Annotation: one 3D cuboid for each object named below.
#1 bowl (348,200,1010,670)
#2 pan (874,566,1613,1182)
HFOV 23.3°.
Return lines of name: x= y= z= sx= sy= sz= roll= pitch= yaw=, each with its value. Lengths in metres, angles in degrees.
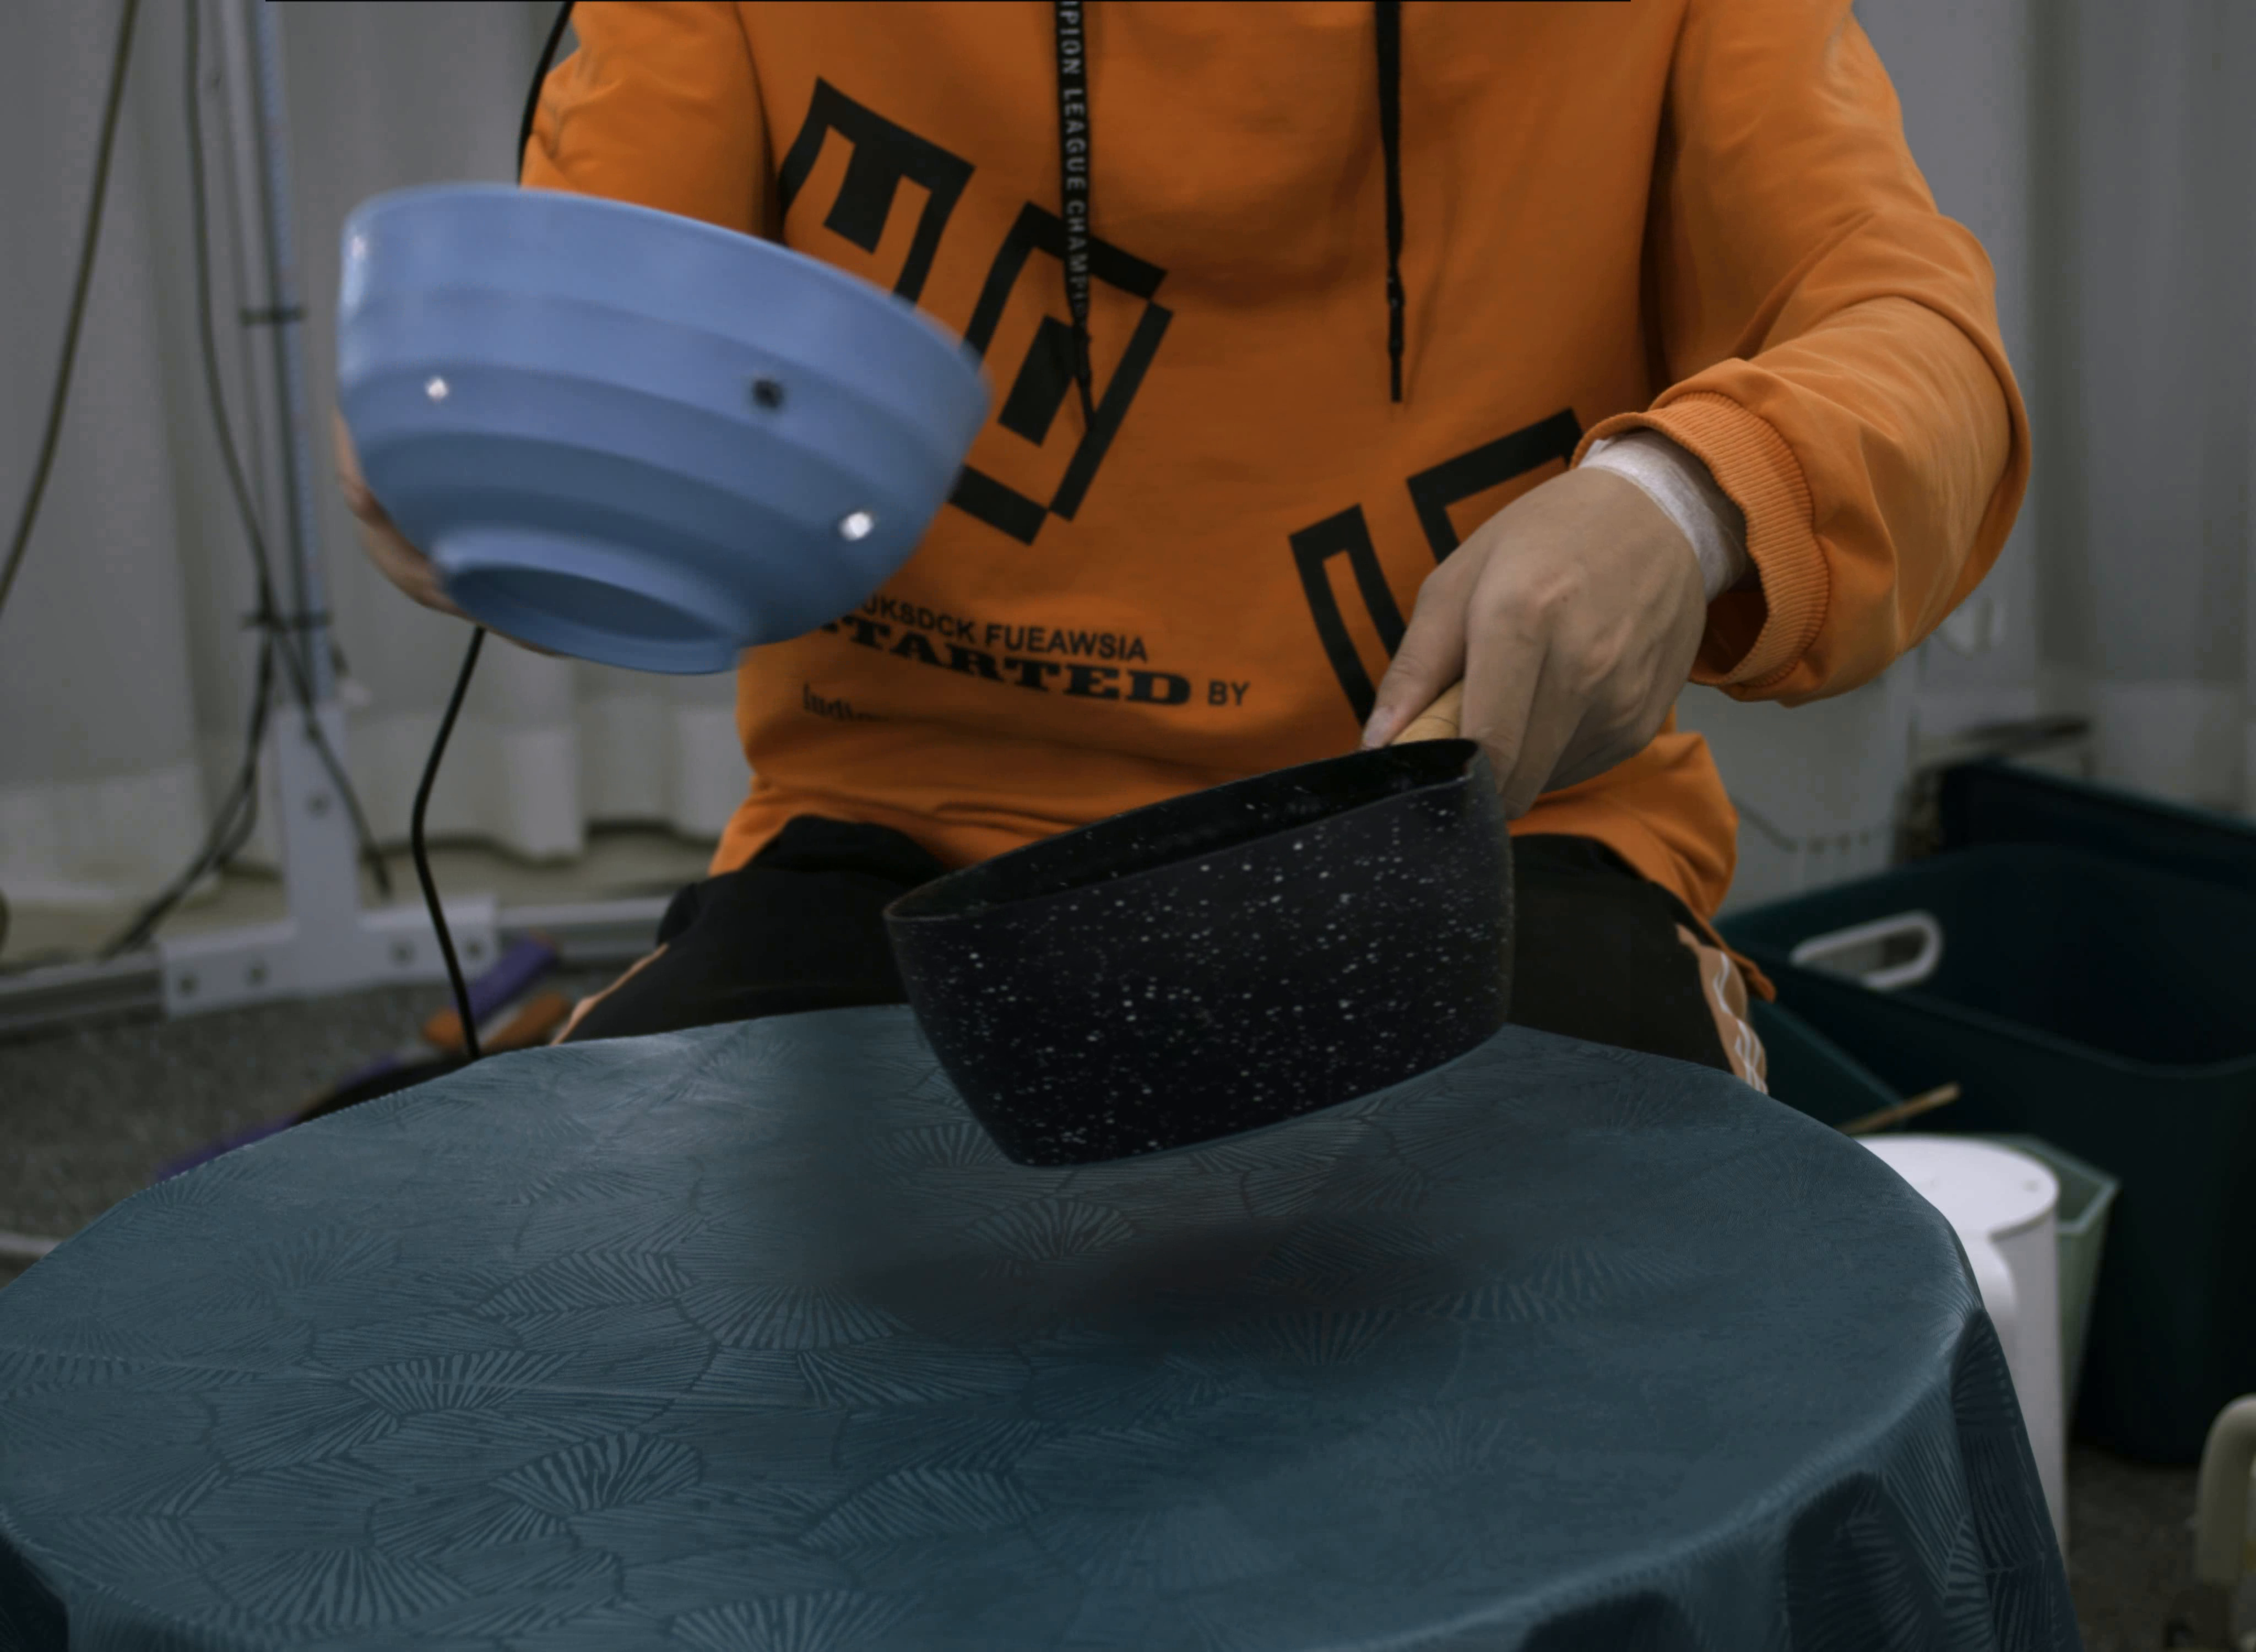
bowl: x=-0.138 y=-0.104 z=1.596 sx=0.196 sy=0.096 sz=0.195 roll=8 pitch=-13 yaw=2
pan: x=0.066 y=0.010 z=1.669 sx=0.207 sy=0.108 sz=0.343 roll=-13 pitch=8 yaw=36
